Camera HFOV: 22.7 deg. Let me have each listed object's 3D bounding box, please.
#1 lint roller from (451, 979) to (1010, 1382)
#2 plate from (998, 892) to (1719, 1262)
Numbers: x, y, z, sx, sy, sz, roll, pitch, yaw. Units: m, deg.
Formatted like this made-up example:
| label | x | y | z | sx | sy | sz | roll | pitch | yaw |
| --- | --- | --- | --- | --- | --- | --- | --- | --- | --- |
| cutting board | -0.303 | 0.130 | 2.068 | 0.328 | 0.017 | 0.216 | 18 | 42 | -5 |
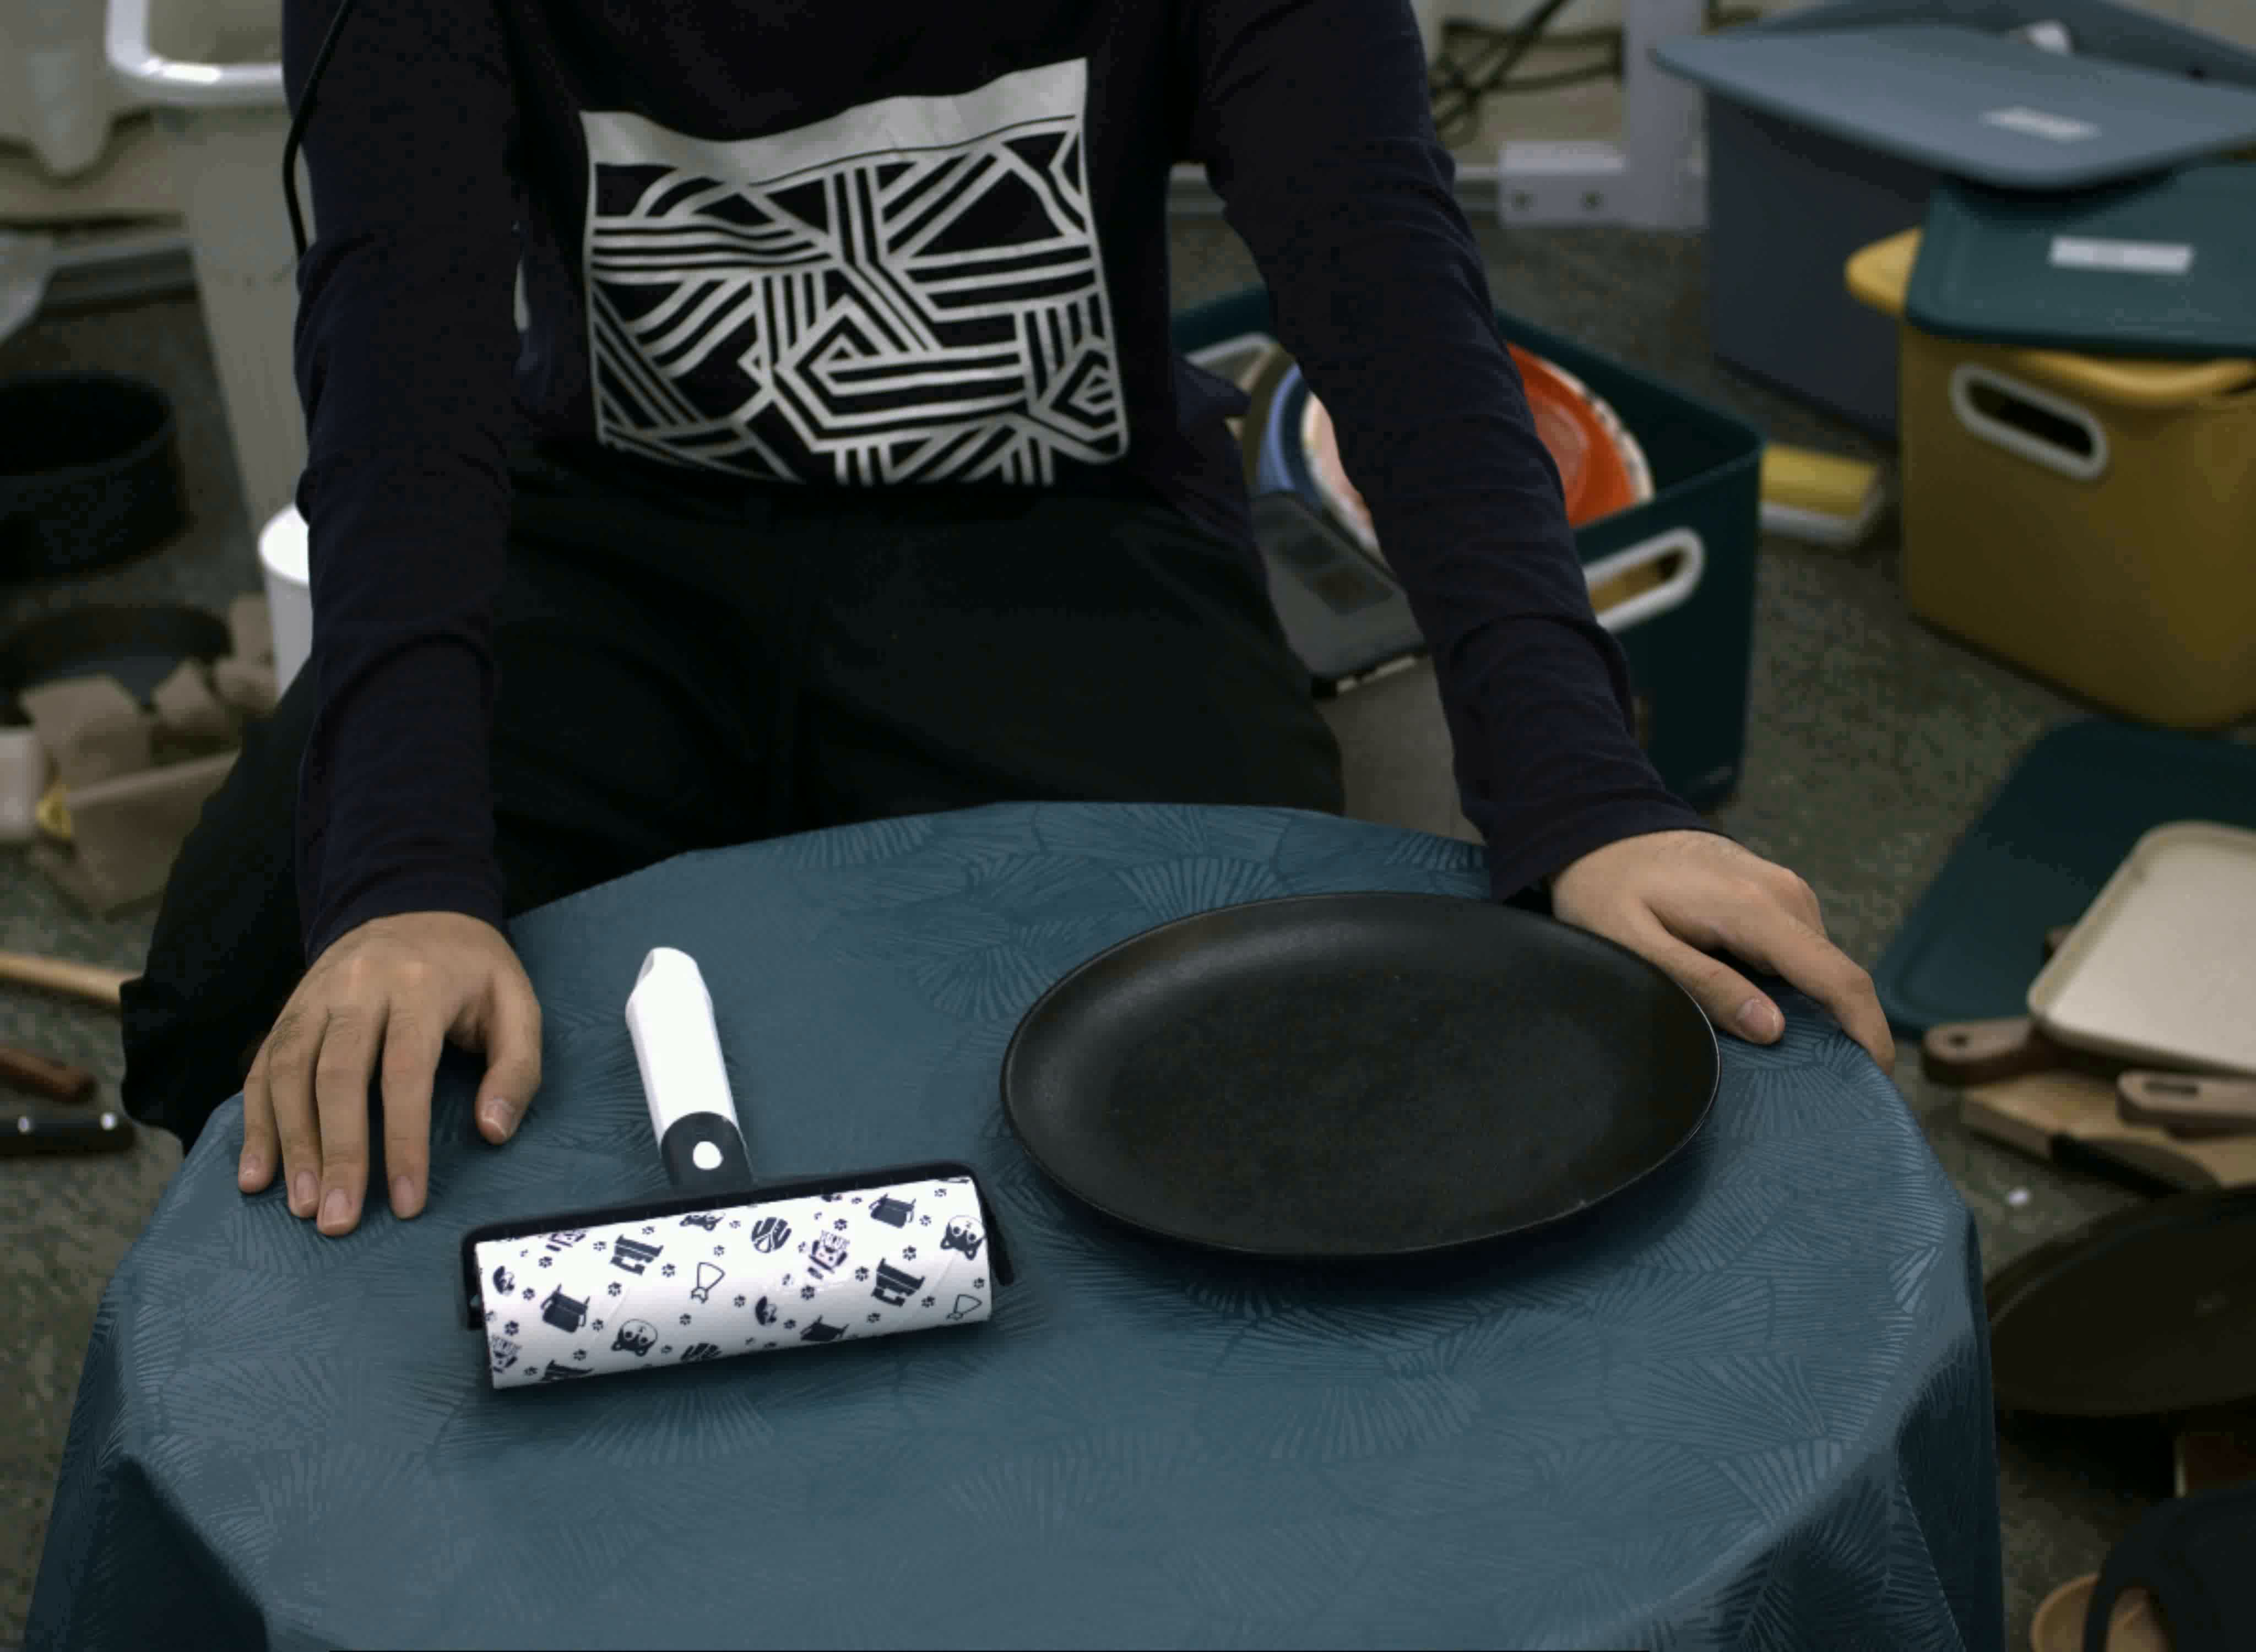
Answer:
| label | x | y | z | sx | sy | sz | roll | pitch | yaw |
| --- | --- | --- | --- | --- | --- | --- | --- | --- | --- |
| lint roller | -0.145 | 0.103 | 1.869 | 0.176 | 0.050 | 0.249 | -8 | 24 | -9 |
| plate | 0.077 | 0.088 | 1.895 | 0.243 | 0.023 | 0.248 | -2 | 27 | 1 |
